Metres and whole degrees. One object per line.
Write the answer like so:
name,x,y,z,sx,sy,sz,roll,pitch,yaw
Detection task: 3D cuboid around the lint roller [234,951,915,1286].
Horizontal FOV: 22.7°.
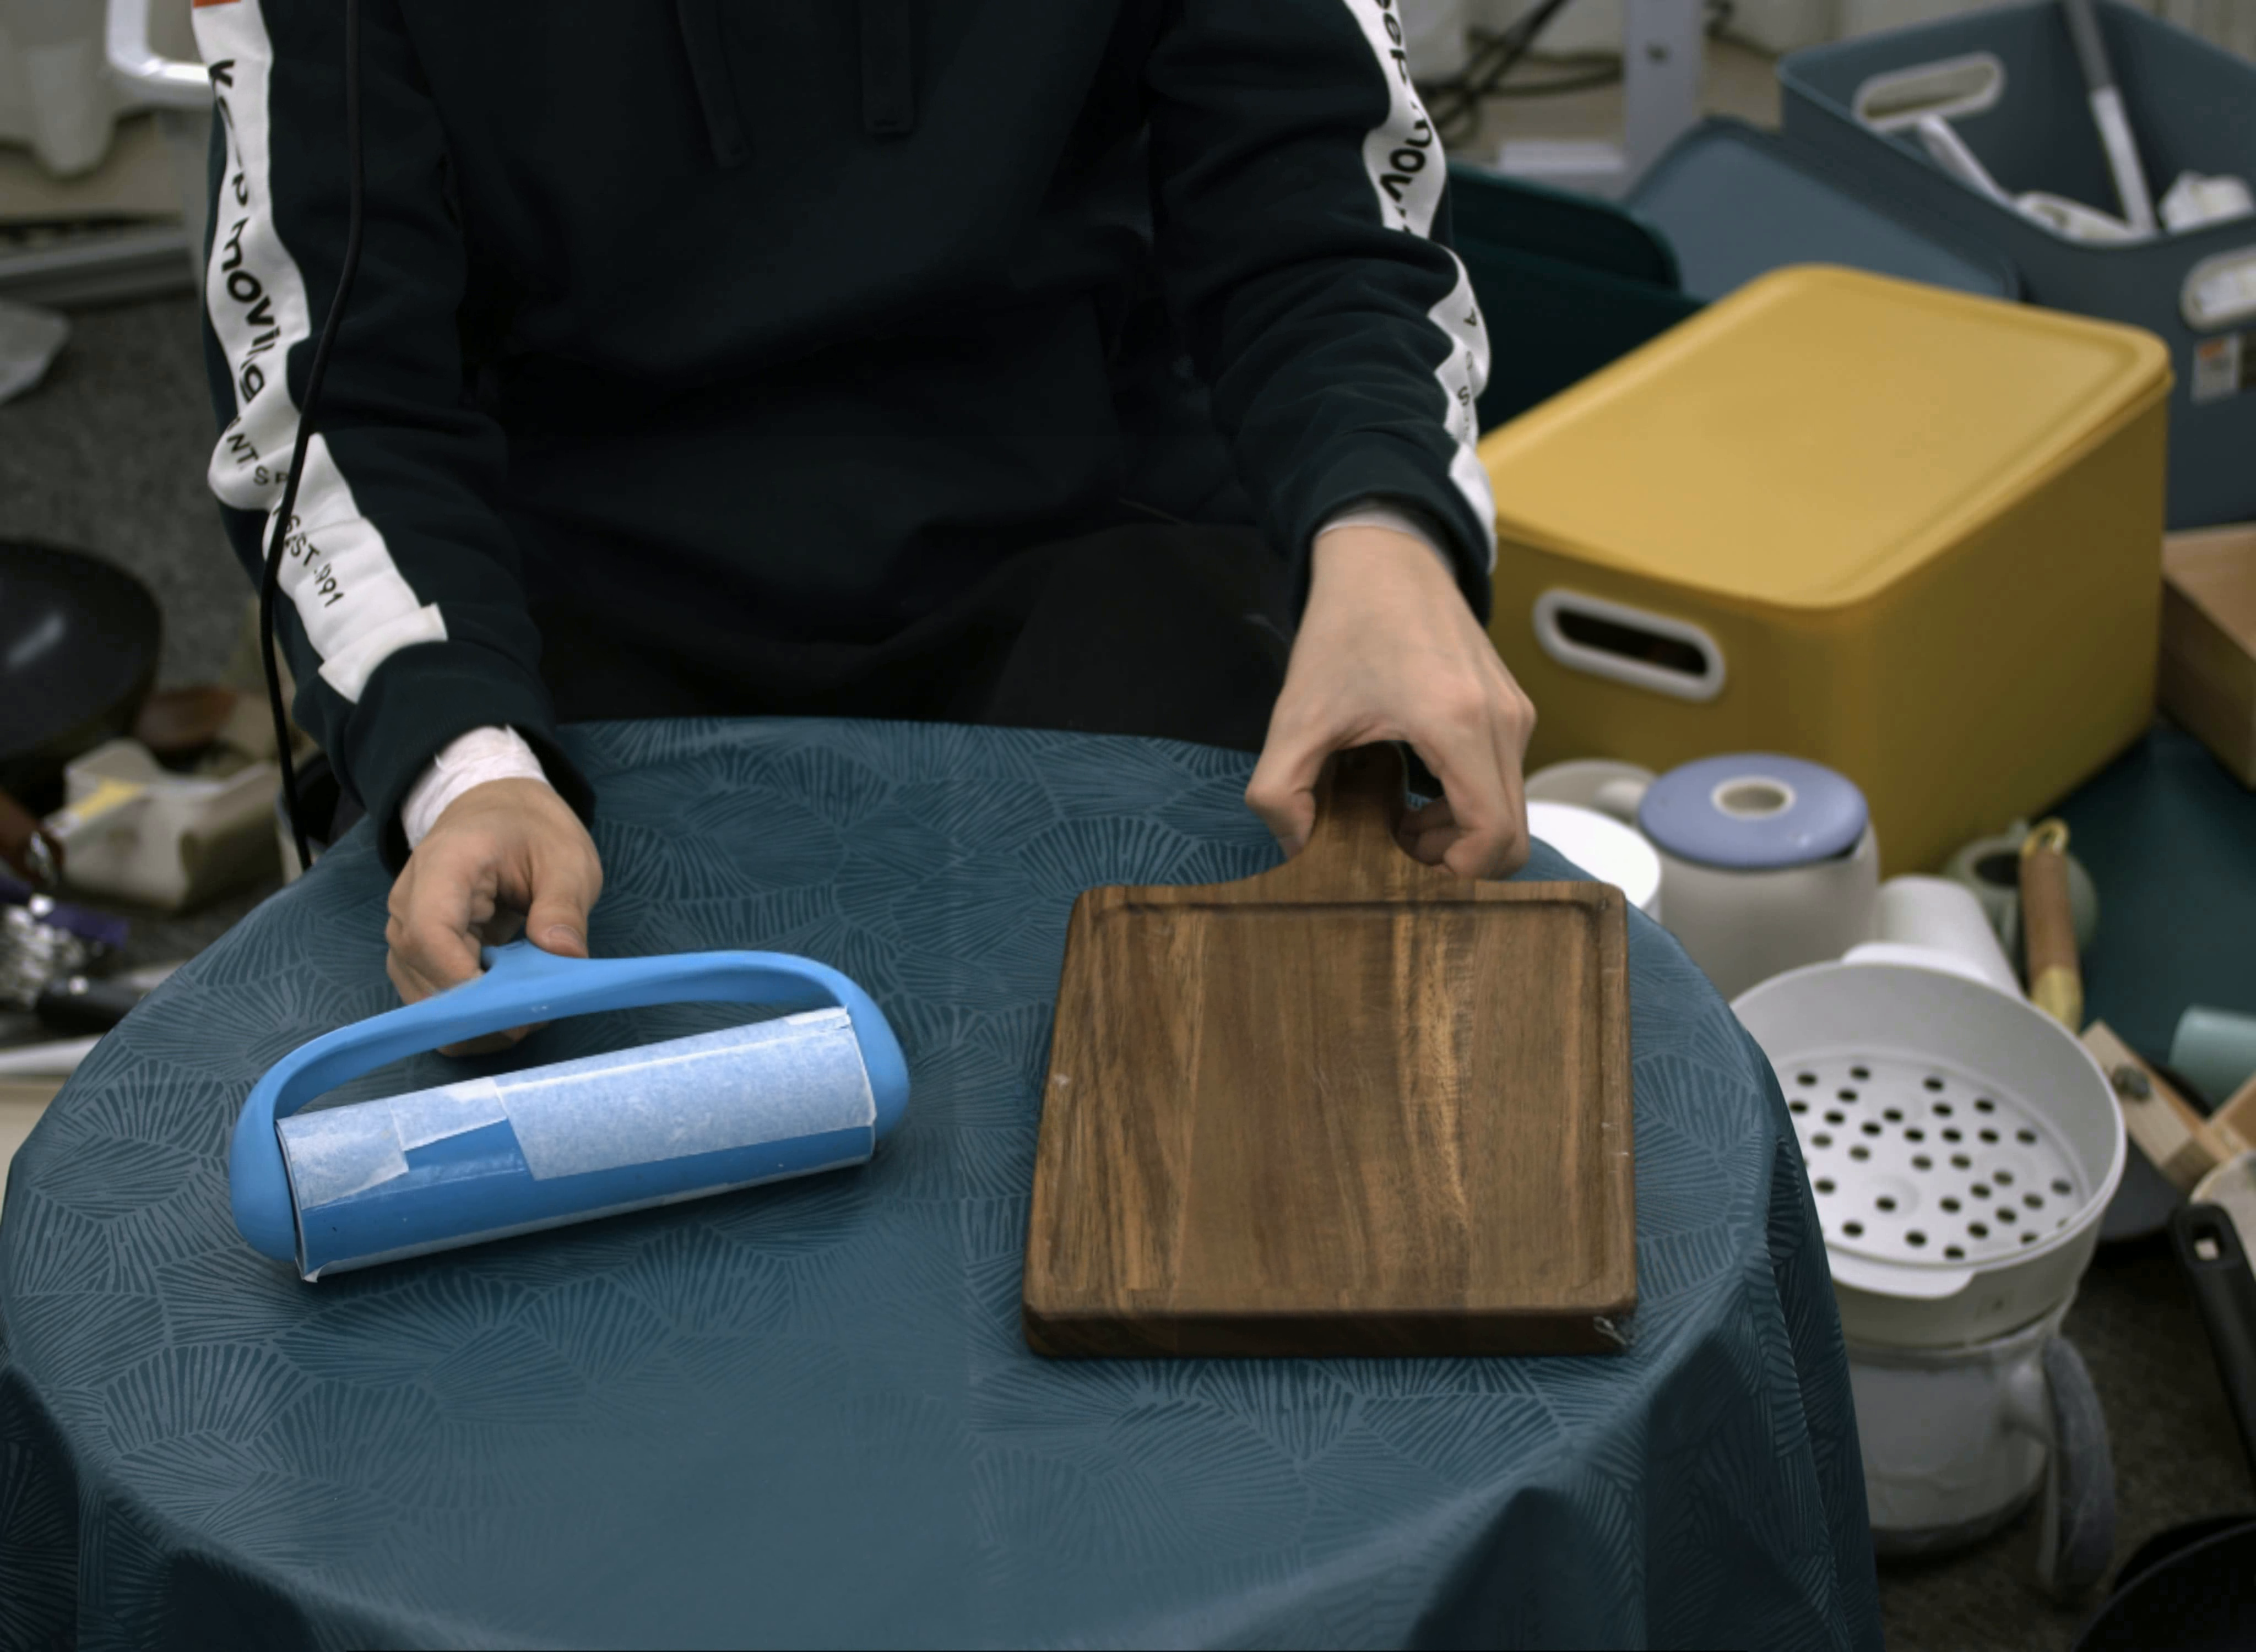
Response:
lint roller,-0.201,0.078,1.900,0.229,0.067,0.182,-13,31,-16

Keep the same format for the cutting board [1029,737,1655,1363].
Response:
cutting board,0.073,0.068,1.909,0.200,0.023,0.358,0,31,3
